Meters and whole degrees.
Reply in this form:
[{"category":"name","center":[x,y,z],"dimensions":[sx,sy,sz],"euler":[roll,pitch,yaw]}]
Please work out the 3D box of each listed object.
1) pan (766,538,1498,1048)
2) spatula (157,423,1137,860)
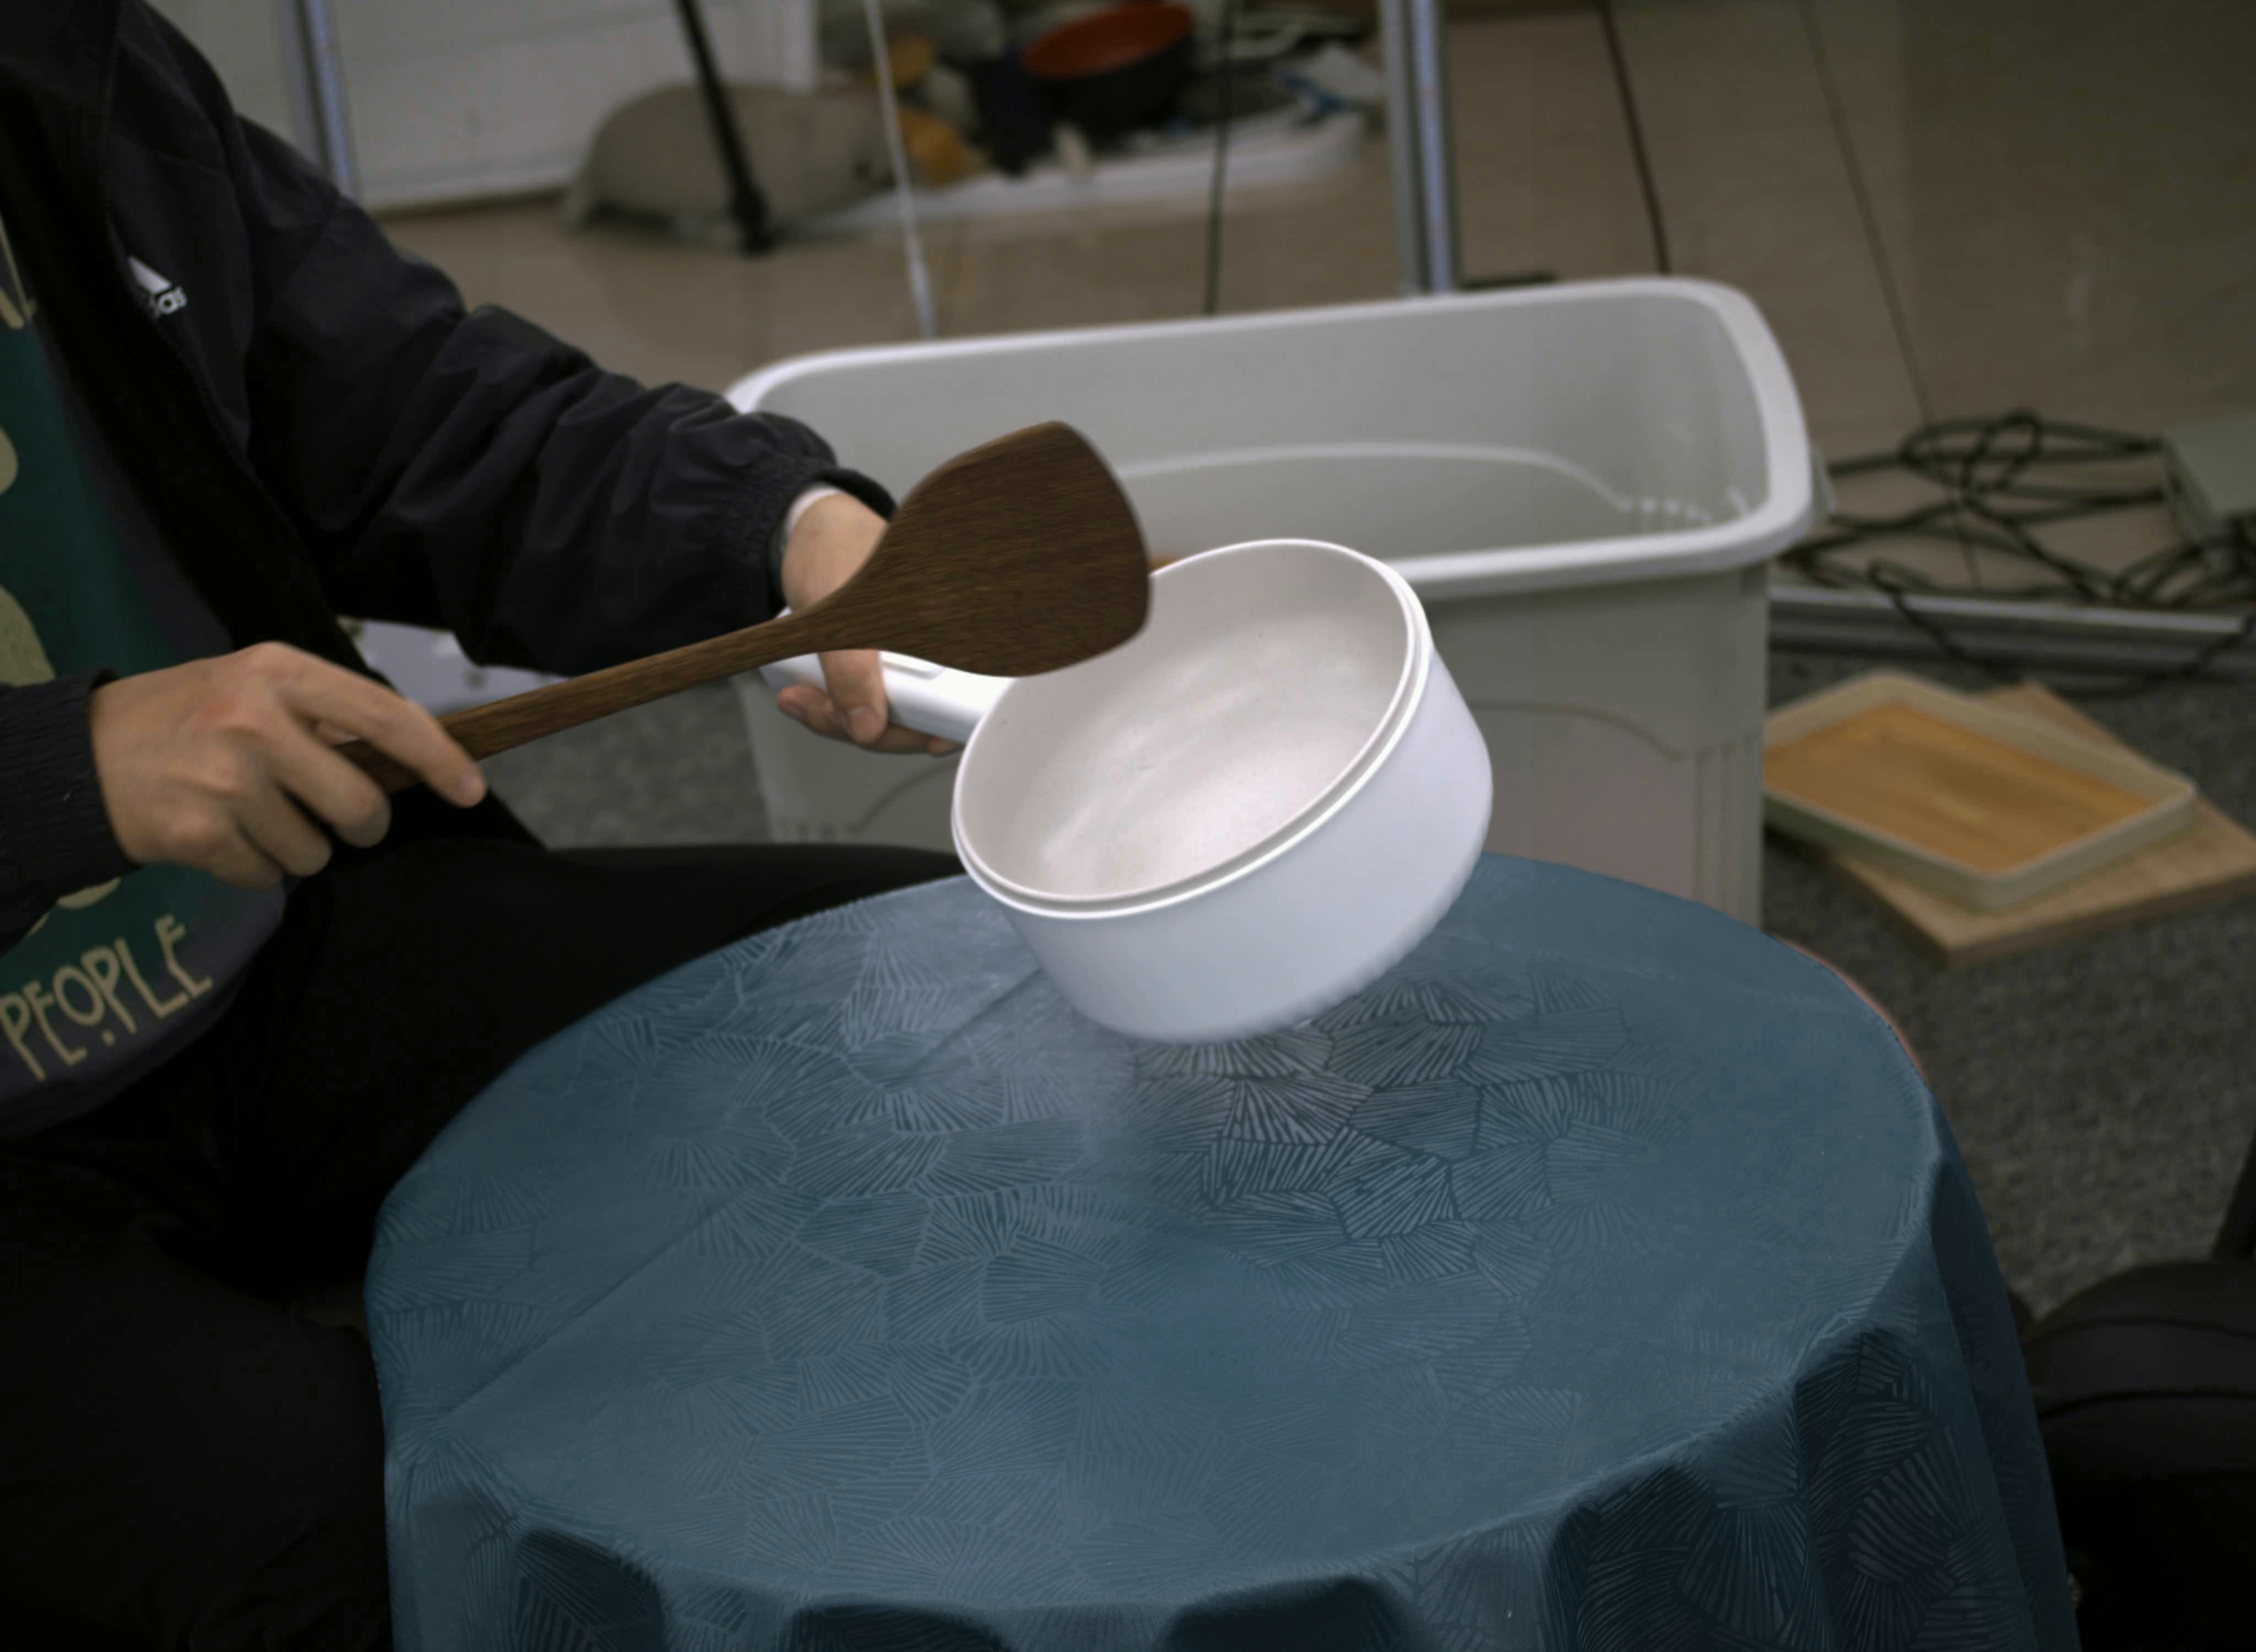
[{"category":"pan","center":[-0.007,-0.021,2.240],"dimensions":[0.352,0.103,0.199],"euler":[15,58,47]},{"category":"spatula","center":[-0.182,-0.054,2.081],"dimensions":[0.386,0.097,0.015],"euler":[-17,31,12]}]
